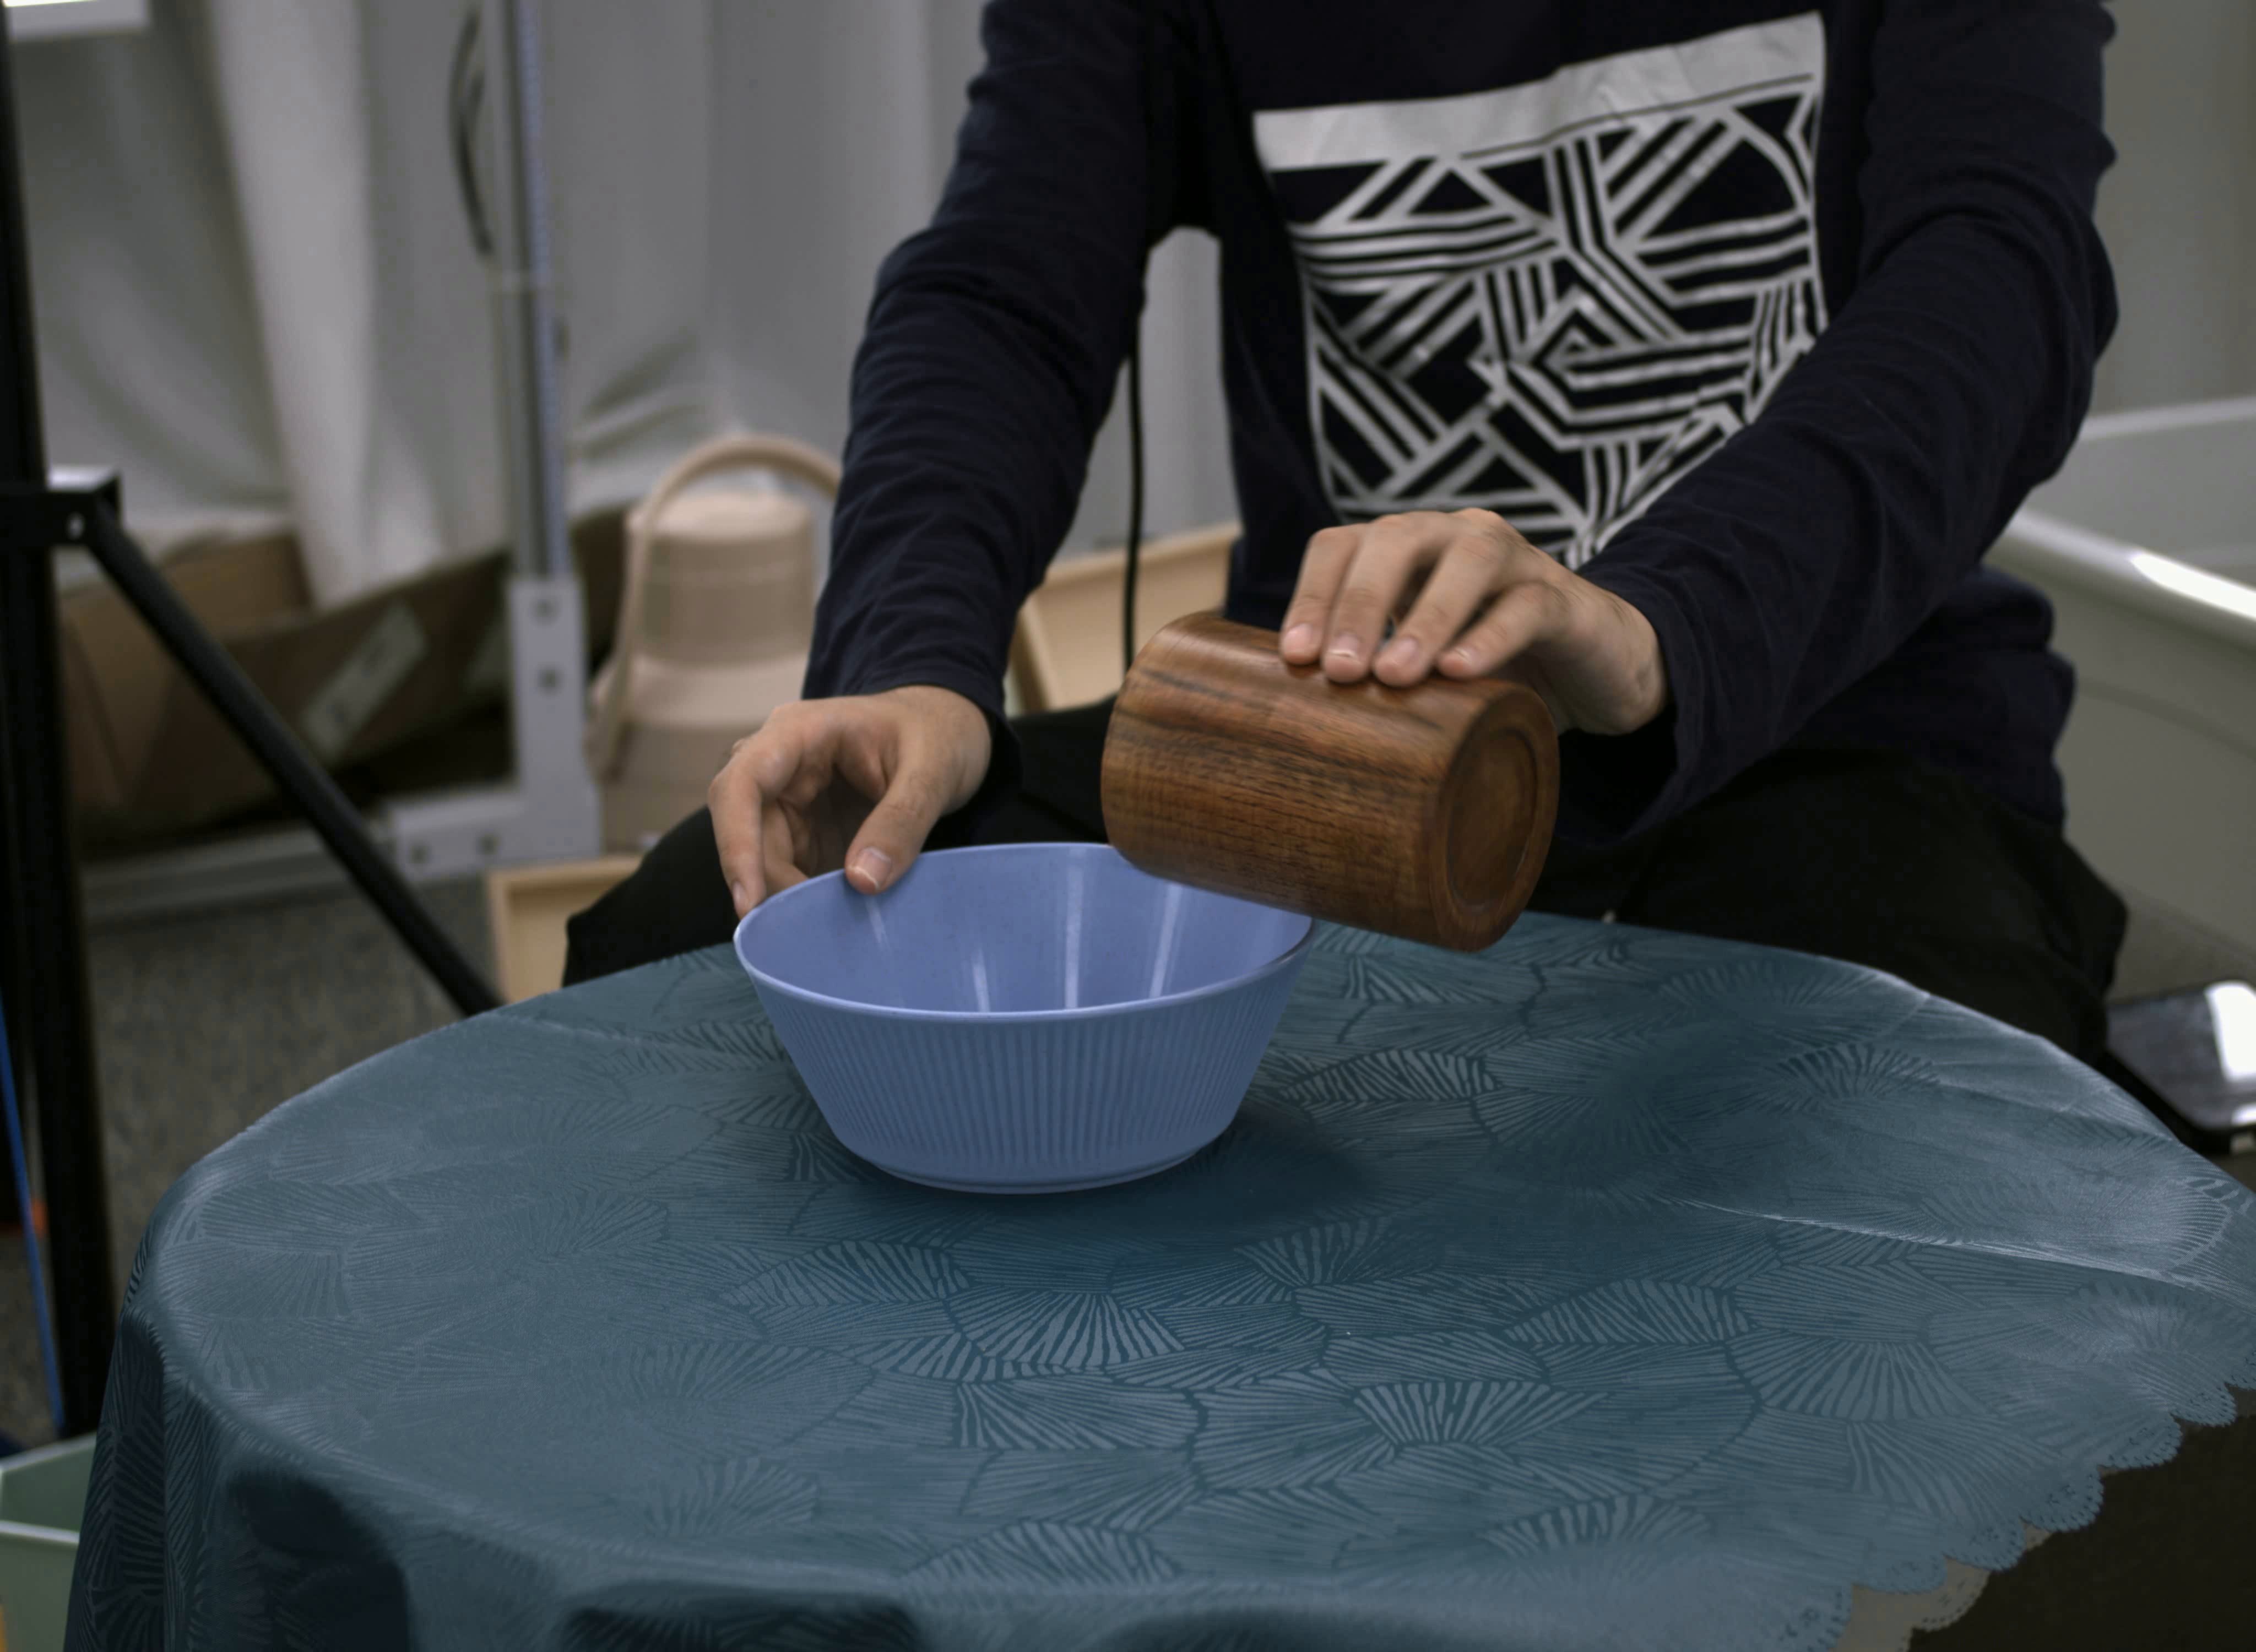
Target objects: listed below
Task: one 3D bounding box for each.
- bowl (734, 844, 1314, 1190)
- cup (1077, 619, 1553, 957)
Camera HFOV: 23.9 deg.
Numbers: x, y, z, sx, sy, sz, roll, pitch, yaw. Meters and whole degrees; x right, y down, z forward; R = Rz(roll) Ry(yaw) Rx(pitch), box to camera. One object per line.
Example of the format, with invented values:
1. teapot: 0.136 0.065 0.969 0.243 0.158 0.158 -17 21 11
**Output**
1. bowl: -0.031 0.060 1.606 0.175 0.070 0.177 -2 15 -1
2. cup: 0.054 -0.010 1.554 0.121 0.088 0.086 13 21 35
